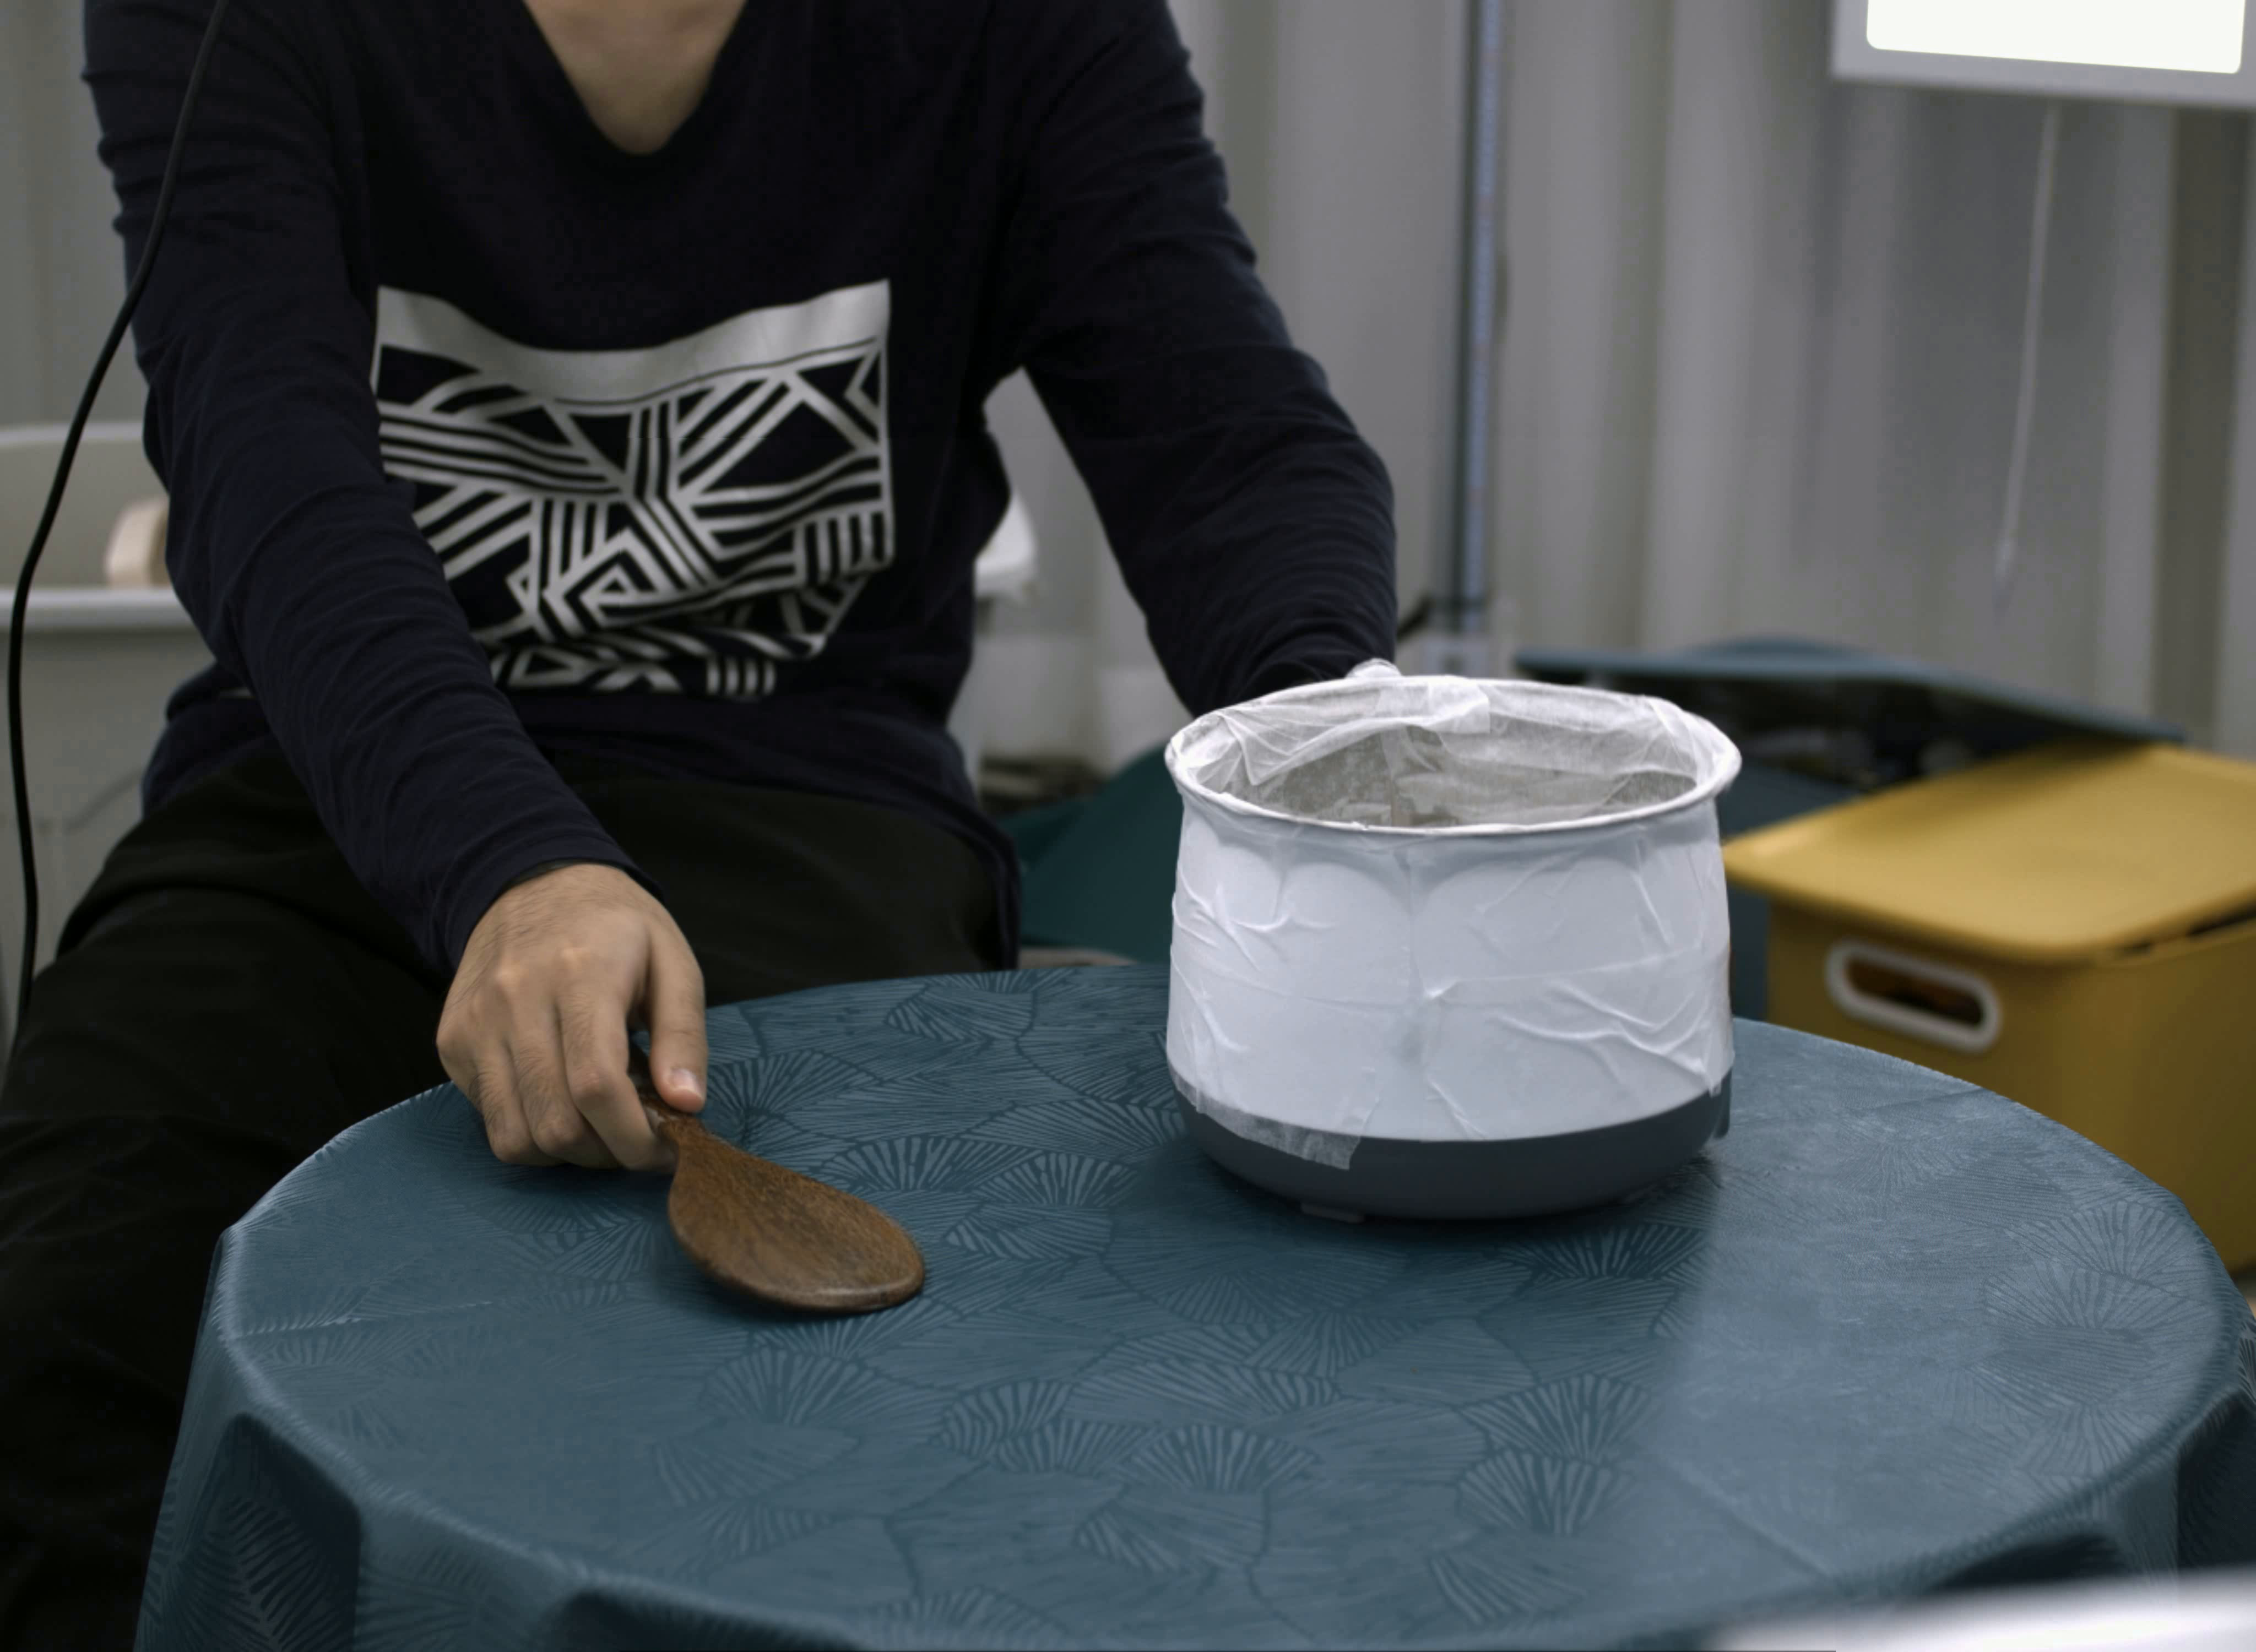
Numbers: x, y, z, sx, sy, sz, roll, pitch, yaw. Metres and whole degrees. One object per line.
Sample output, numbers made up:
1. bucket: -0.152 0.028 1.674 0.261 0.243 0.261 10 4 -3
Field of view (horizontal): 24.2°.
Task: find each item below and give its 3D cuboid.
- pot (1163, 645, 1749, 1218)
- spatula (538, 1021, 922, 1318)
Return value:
1. pot: 0.094 0.028 1.660 0.179 0.138 0.231 -2 18 -13
2. spatula: -0.129 0.101 1.599 0.072 0.009 0.213 2 19 -31
